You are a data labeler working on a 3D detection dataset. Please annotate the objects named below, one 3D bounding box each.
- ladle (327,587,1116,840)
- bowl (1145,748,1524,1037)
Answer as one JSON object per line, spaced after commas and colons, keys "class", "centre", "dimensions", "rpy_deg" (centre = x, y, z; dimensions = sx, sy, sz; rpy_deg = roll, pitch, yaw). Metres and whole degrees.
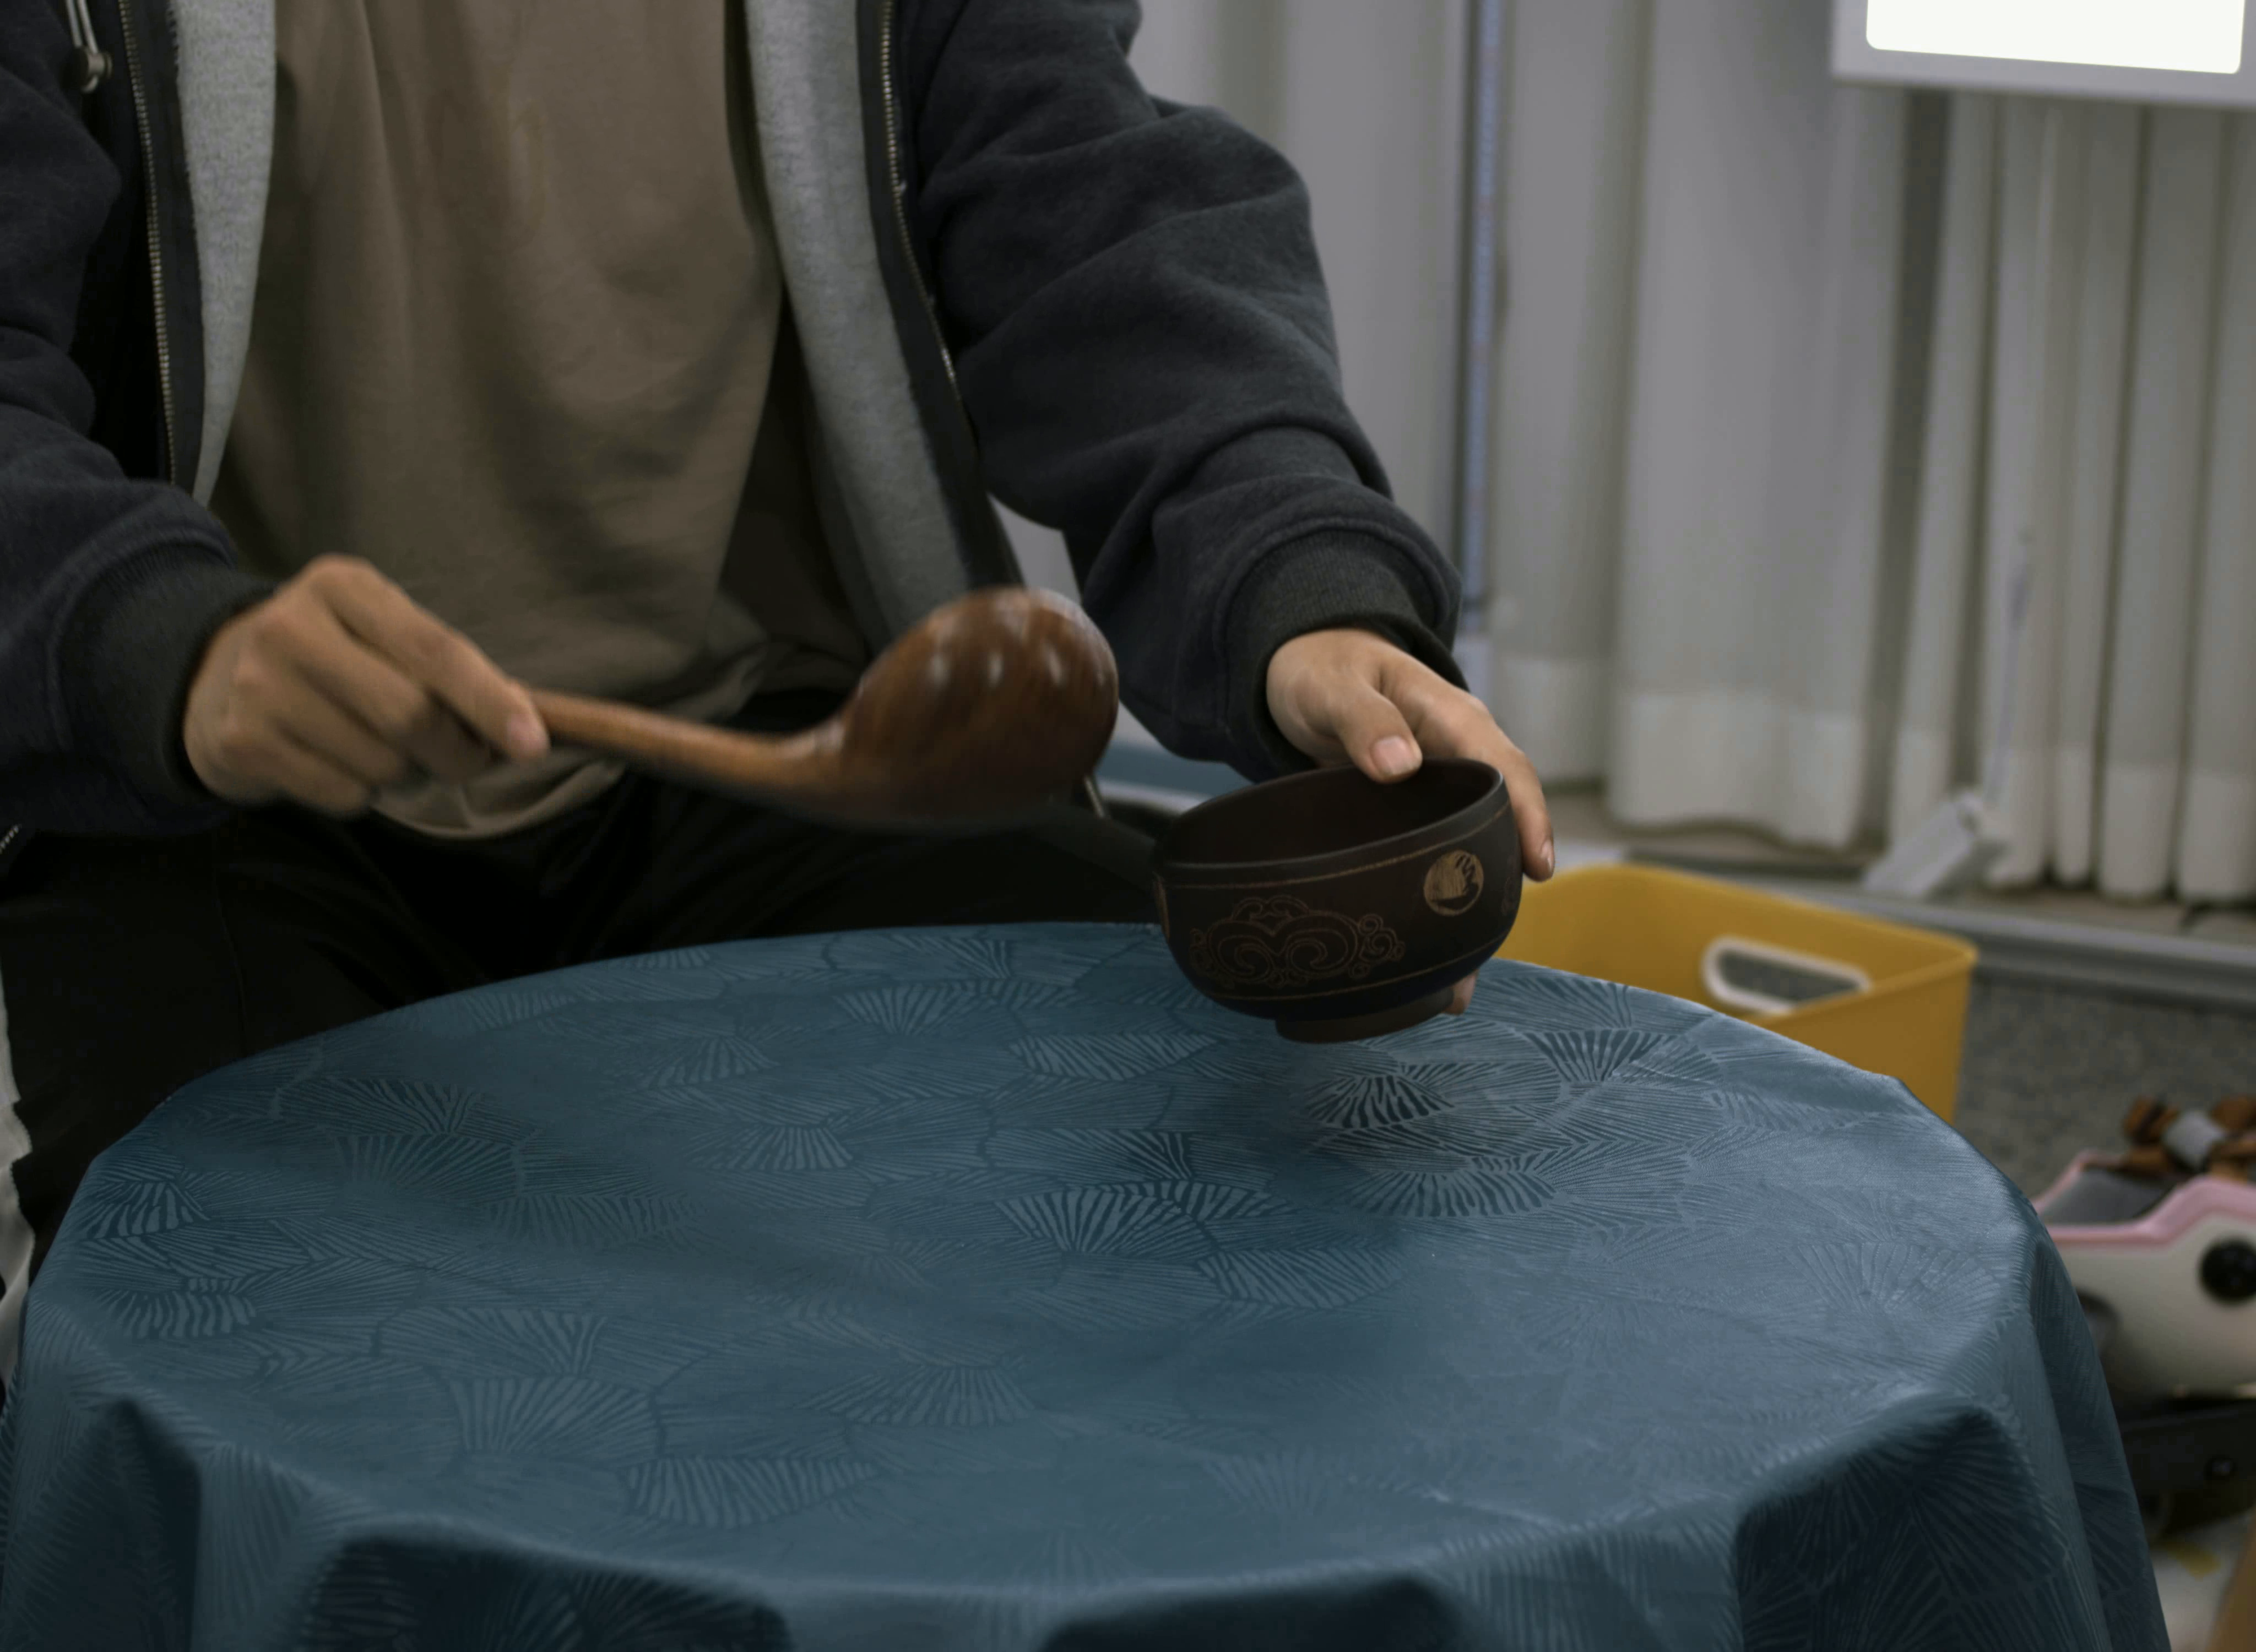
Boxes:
{"class": "ladle", "centre": [-0.125, -0.042, 1.563], "dimensions": [0.270, 0.083, 0.076], "rpy_deg": [8, 59, 37]}
{"class": "bowl", "centre": [0.068, 0.025, 1.655], "dimensions": [0.117, 0.070, 0.117], "rpy_deg": [-11, 13, 3]}
